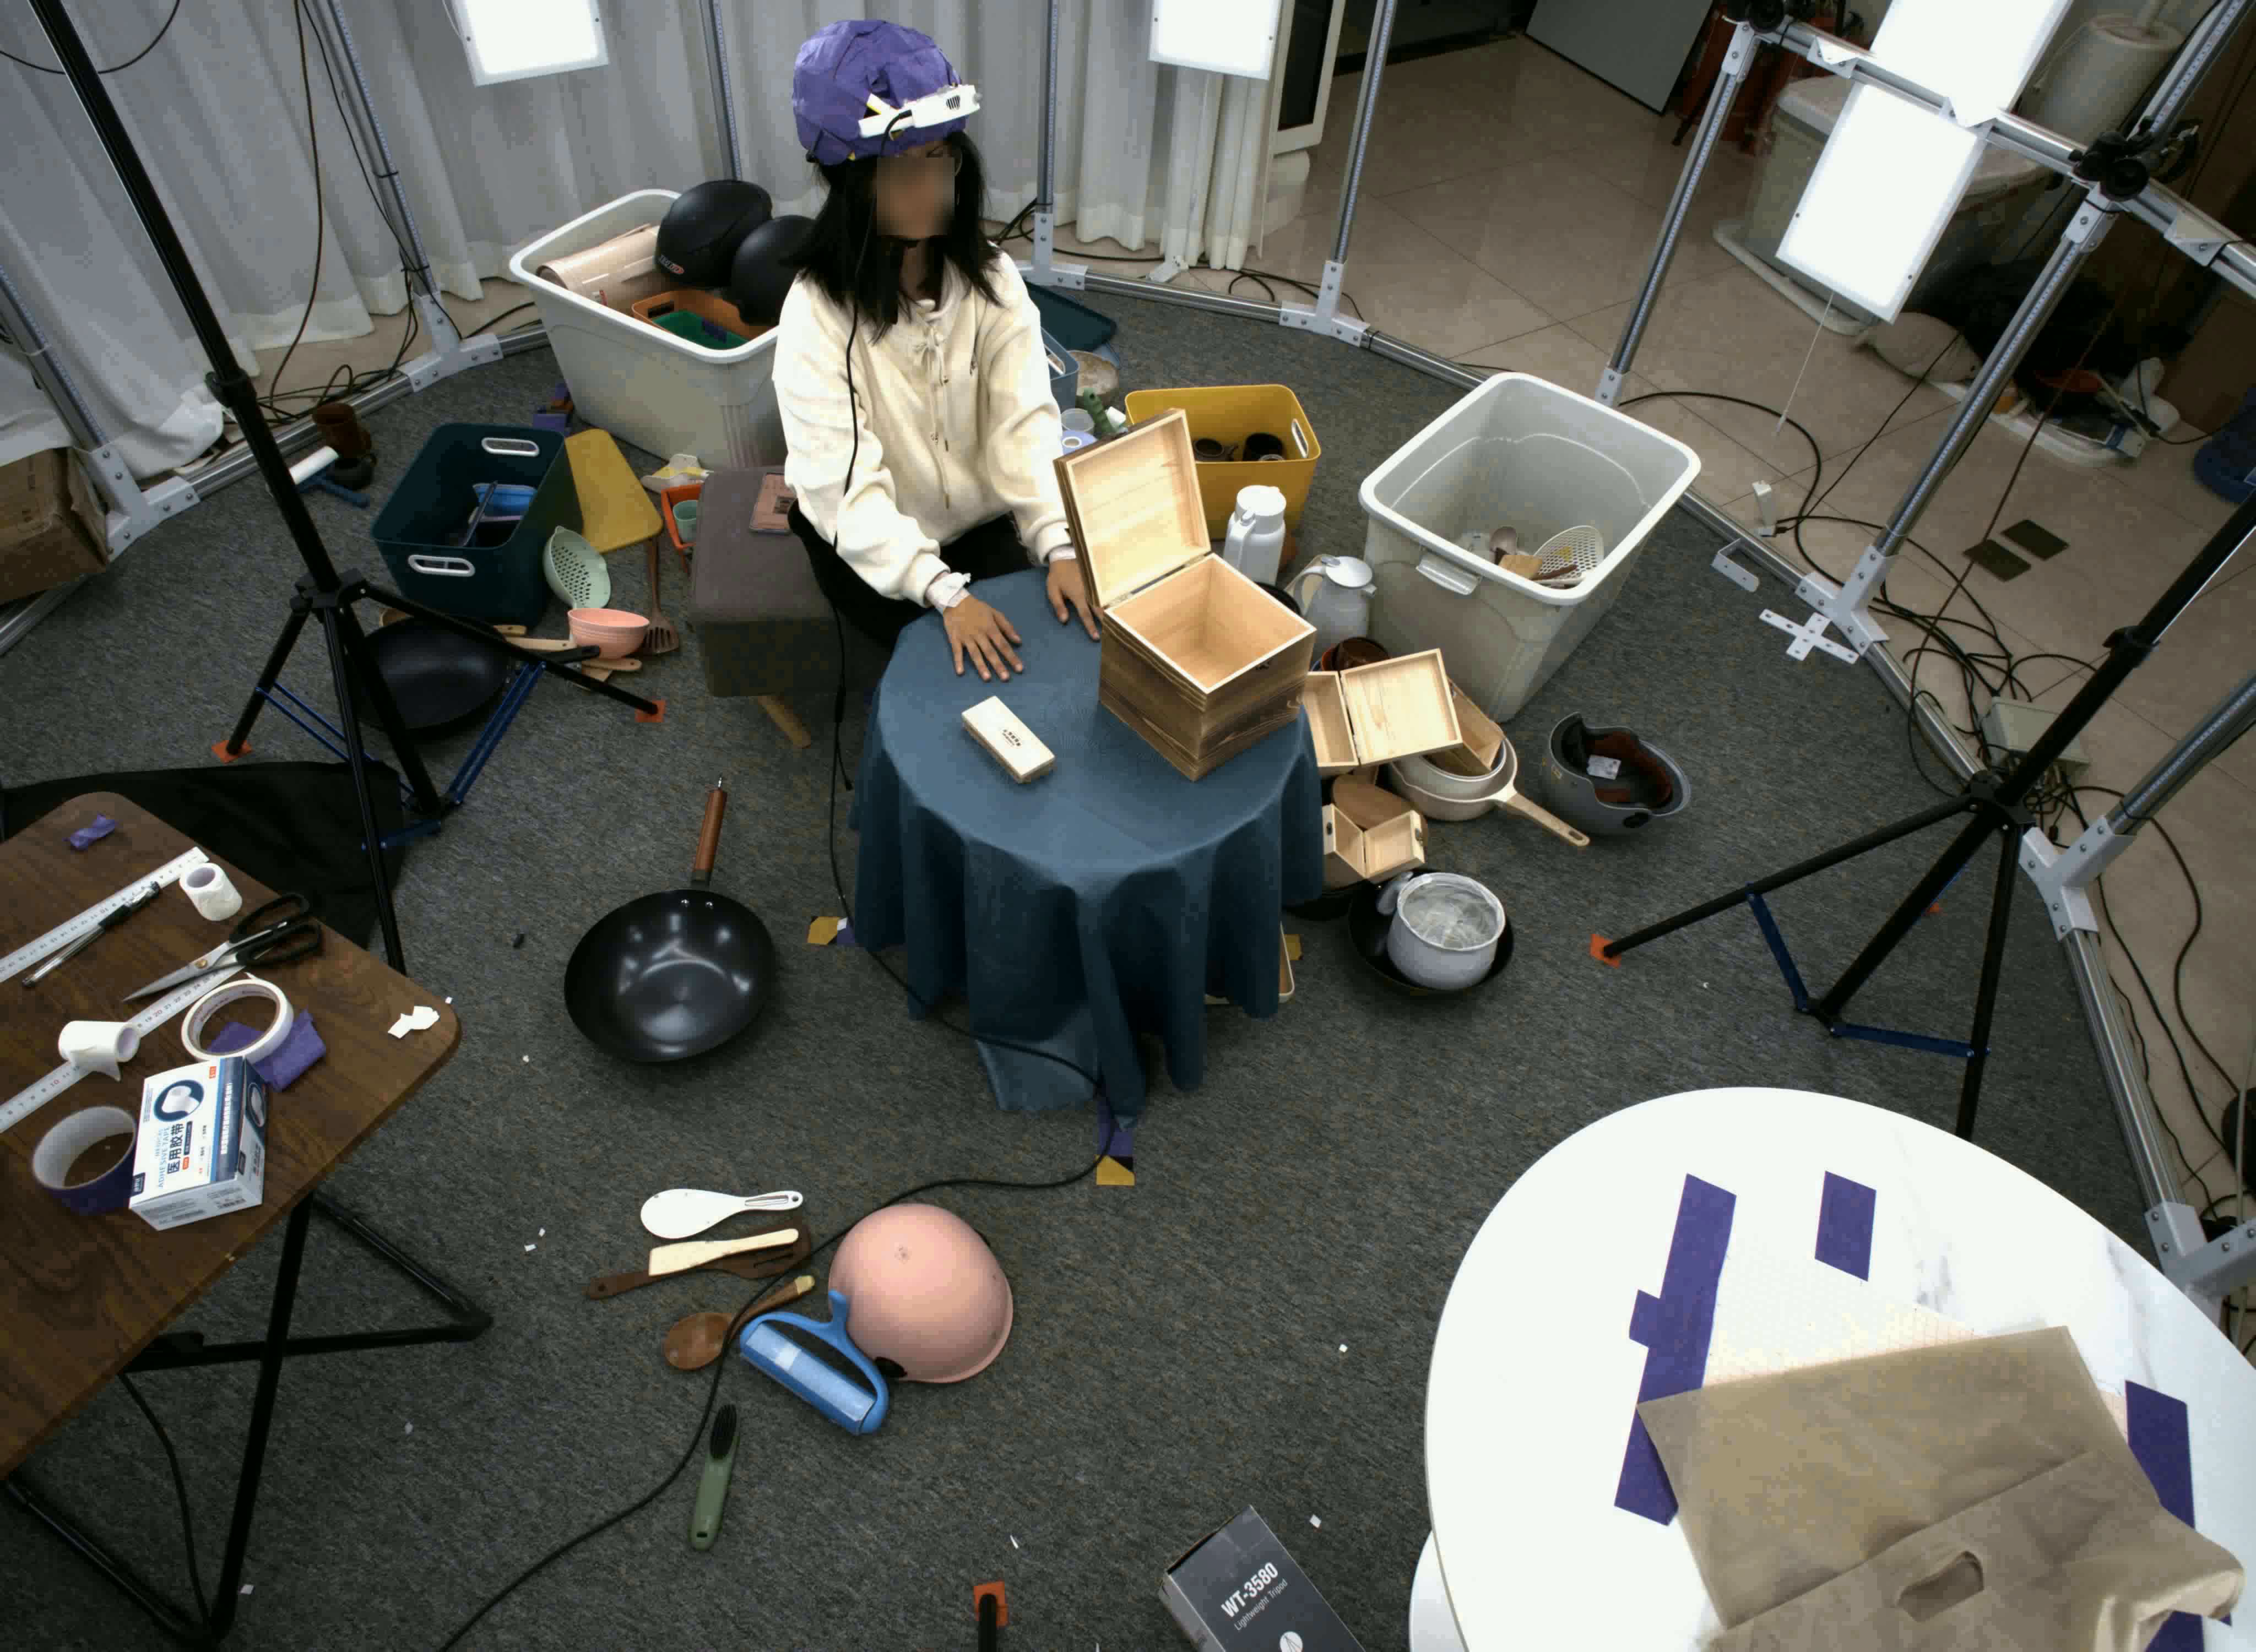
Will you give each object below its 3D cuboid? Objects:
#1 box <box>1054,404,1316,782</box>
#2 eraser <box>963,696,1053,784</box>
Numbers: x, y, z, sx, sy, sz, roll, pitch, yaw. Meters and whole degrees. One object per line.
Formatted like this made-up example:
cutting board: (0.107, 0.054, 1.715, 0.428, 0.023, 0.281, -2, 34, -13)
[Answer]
box: (0.073, -0.310, 1.710, 0.210, 0.366, 0.327, -32, 59, -27)
eraser: (-0.163, -0.115, 1.741, 0.057, 0.028, 0.142, -29, 56, -23)
